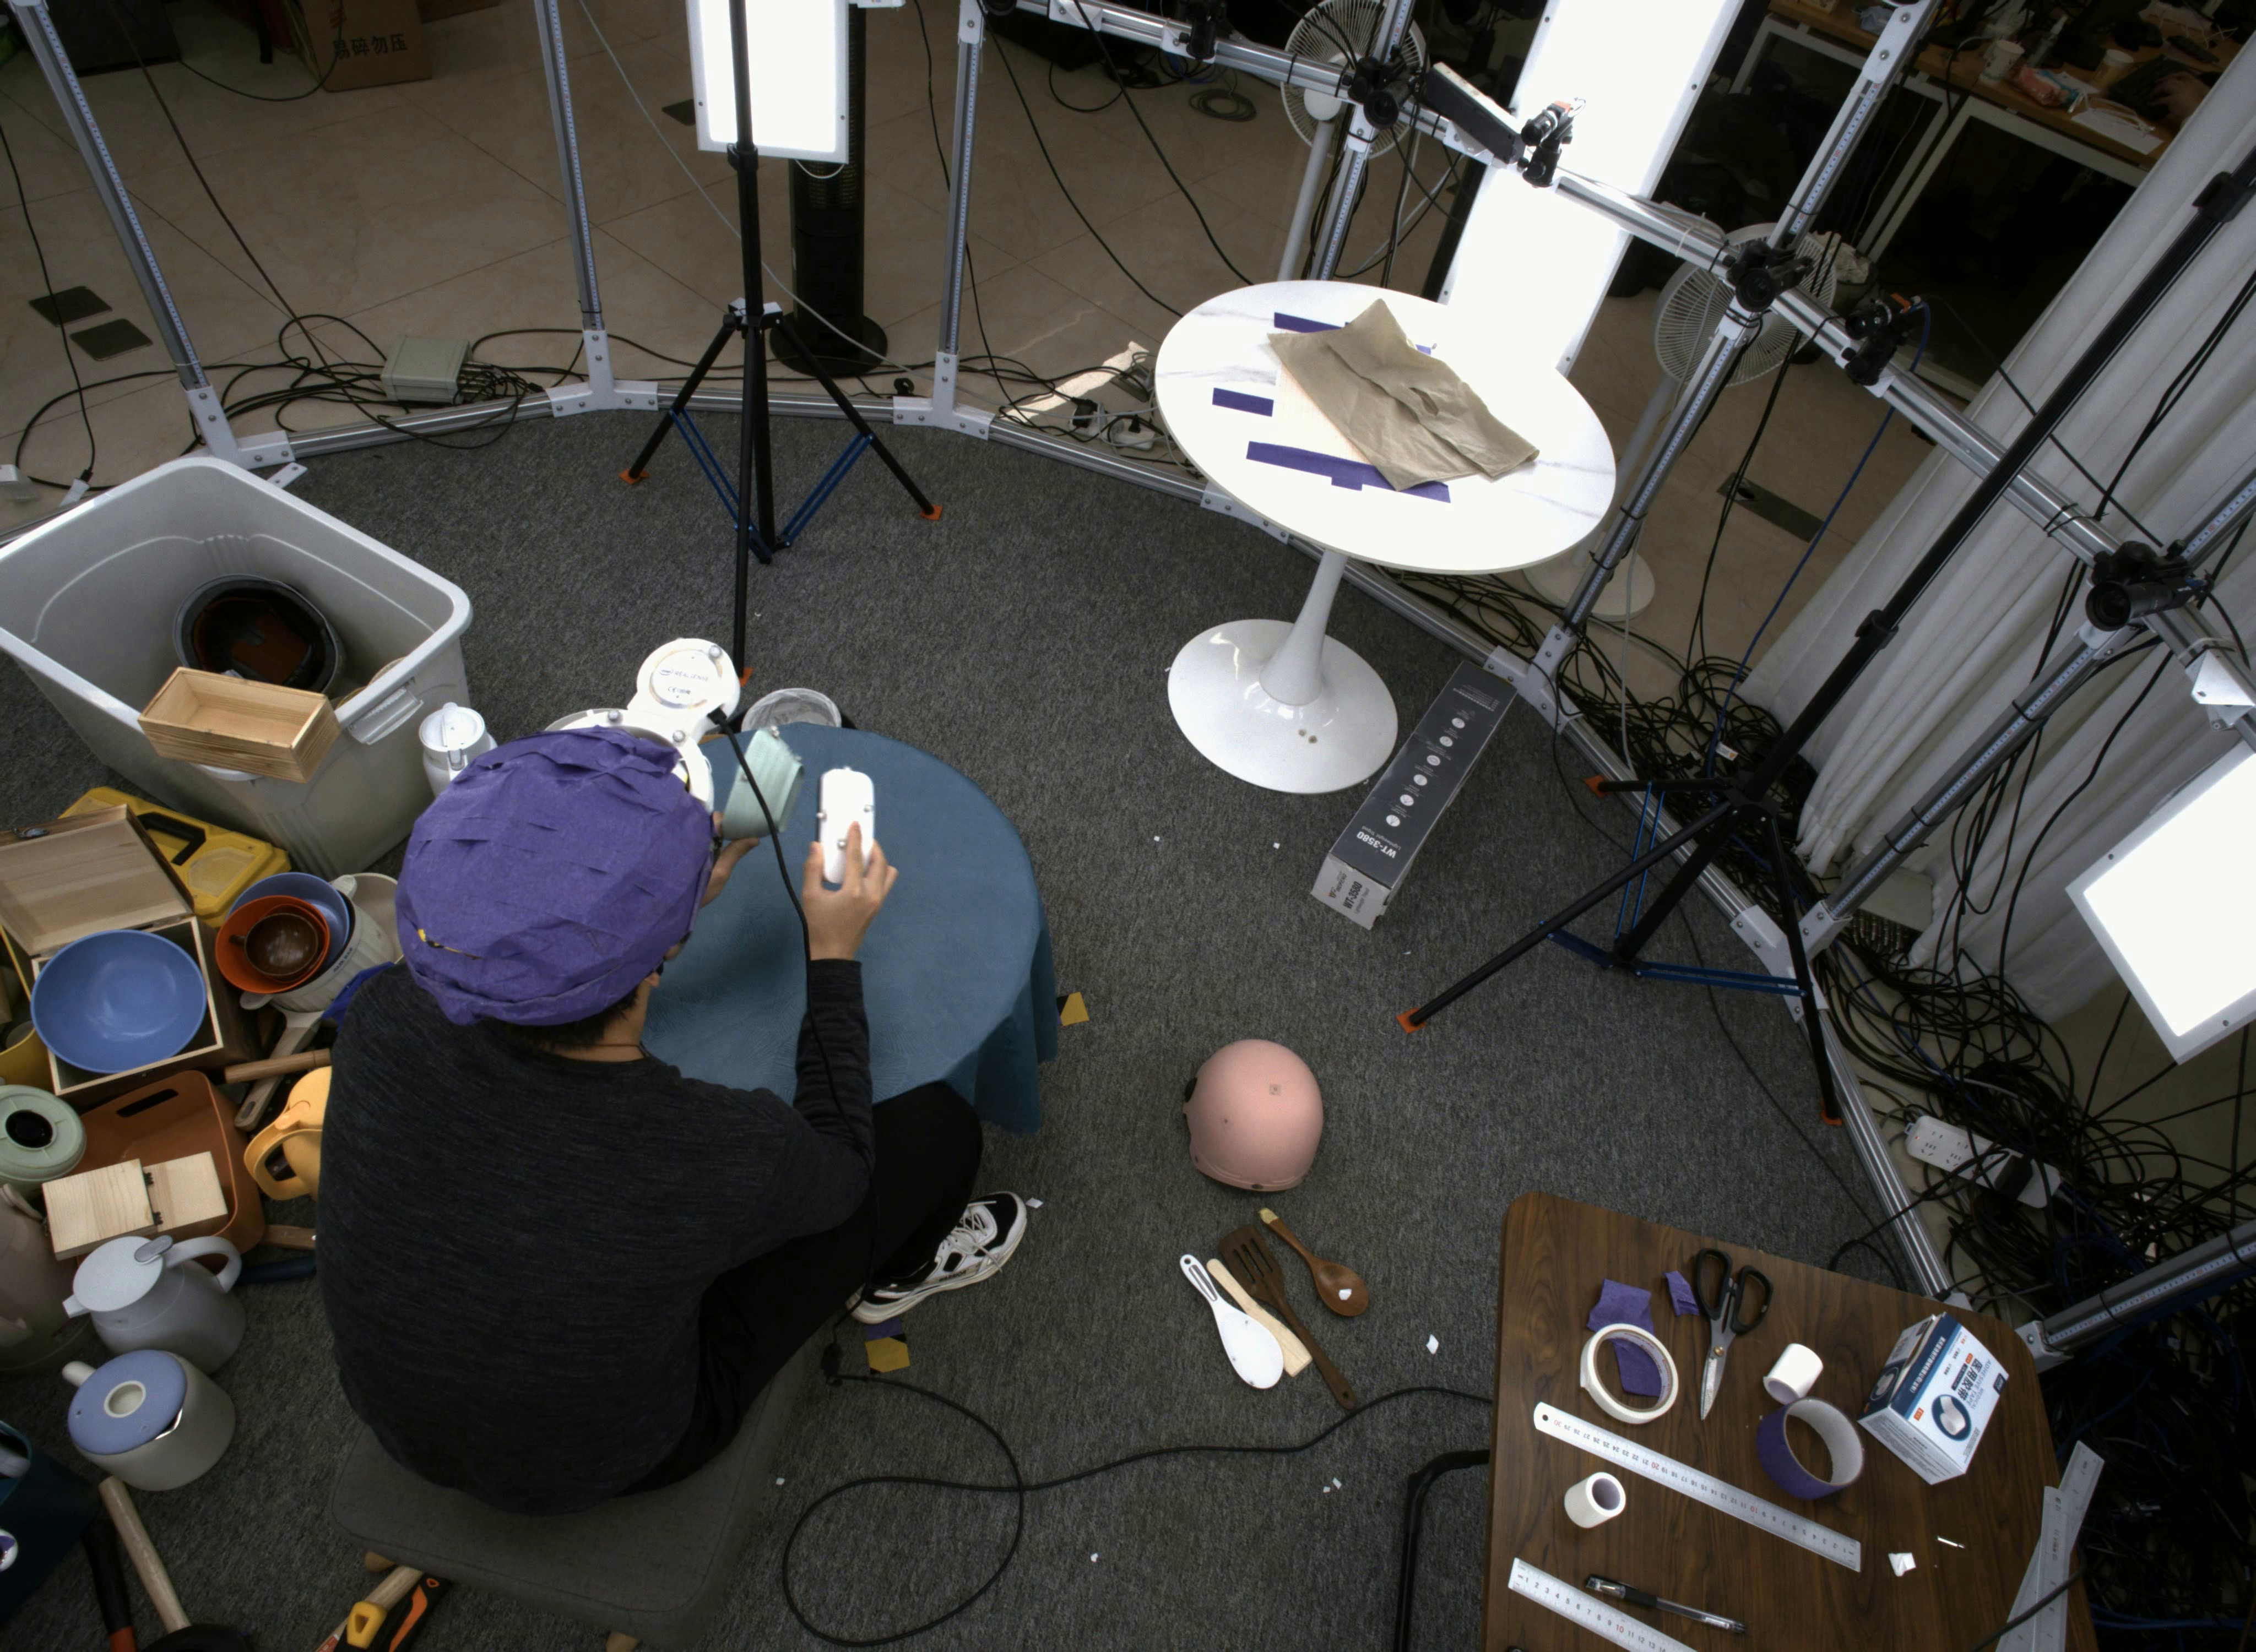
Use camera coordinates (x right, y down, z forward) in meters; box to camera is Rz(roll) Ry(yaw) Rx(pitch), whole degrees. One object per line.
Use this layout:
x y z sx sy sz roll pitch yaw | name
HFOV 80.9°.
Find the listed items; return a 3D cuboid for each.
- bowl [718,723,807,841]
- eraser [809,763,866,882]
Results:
-0.417 -0.043 1.498 0.058 0.154 0.150 20 50 -2 | bowl
-0.329 -0.004 1.464 0.065 0.033 0.132 7 79 -48 | eraser
